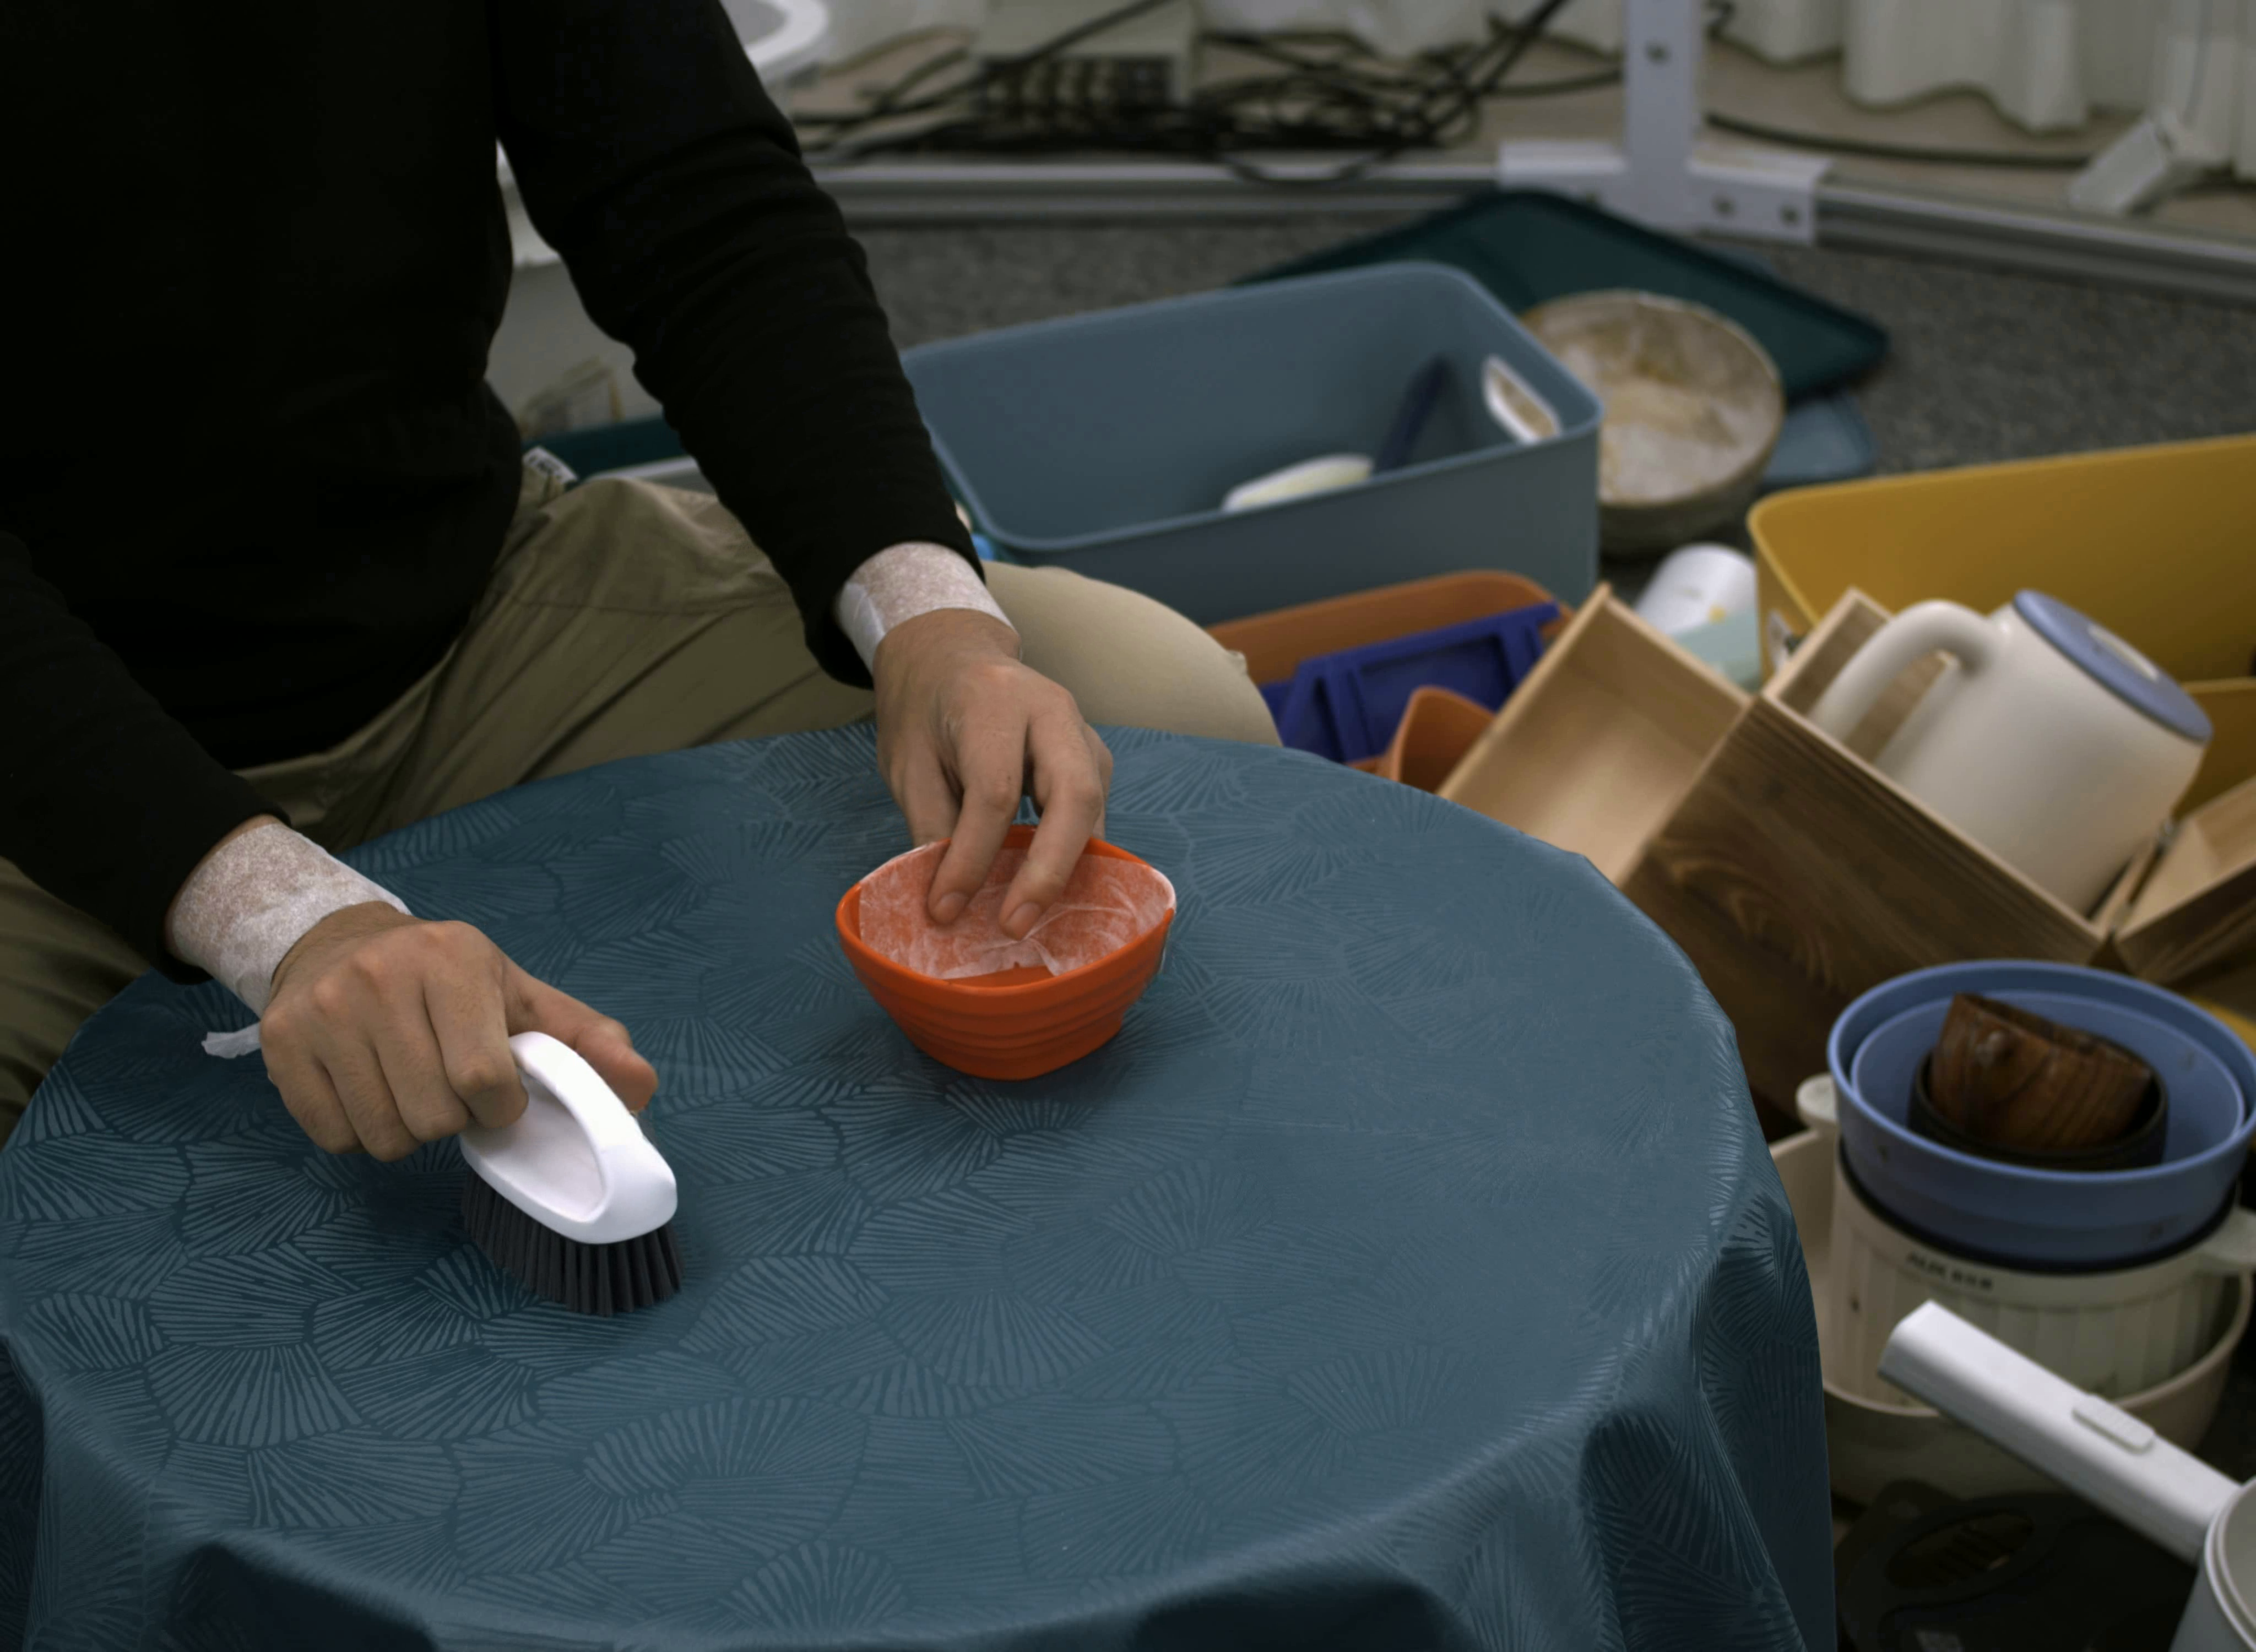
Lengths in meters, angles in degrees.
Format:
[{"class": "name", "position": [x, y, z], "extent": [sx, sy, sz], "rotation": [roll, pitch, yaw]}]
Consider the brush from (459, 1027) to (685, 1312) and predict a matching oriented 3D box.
[{"class": "brush", "position": [-0.184, 0.105, 1.831], "extent": [0.050, 0.072, 0.099], "rotation": [-19, 31, -27]}]

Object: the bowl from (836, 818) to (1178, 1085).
[{"class": "bowl", "position": [-0.041, 0.048, 1.951], "extent": [0.118, 0.051, 0.121], "rotation": [-2, 30, 1]}]
